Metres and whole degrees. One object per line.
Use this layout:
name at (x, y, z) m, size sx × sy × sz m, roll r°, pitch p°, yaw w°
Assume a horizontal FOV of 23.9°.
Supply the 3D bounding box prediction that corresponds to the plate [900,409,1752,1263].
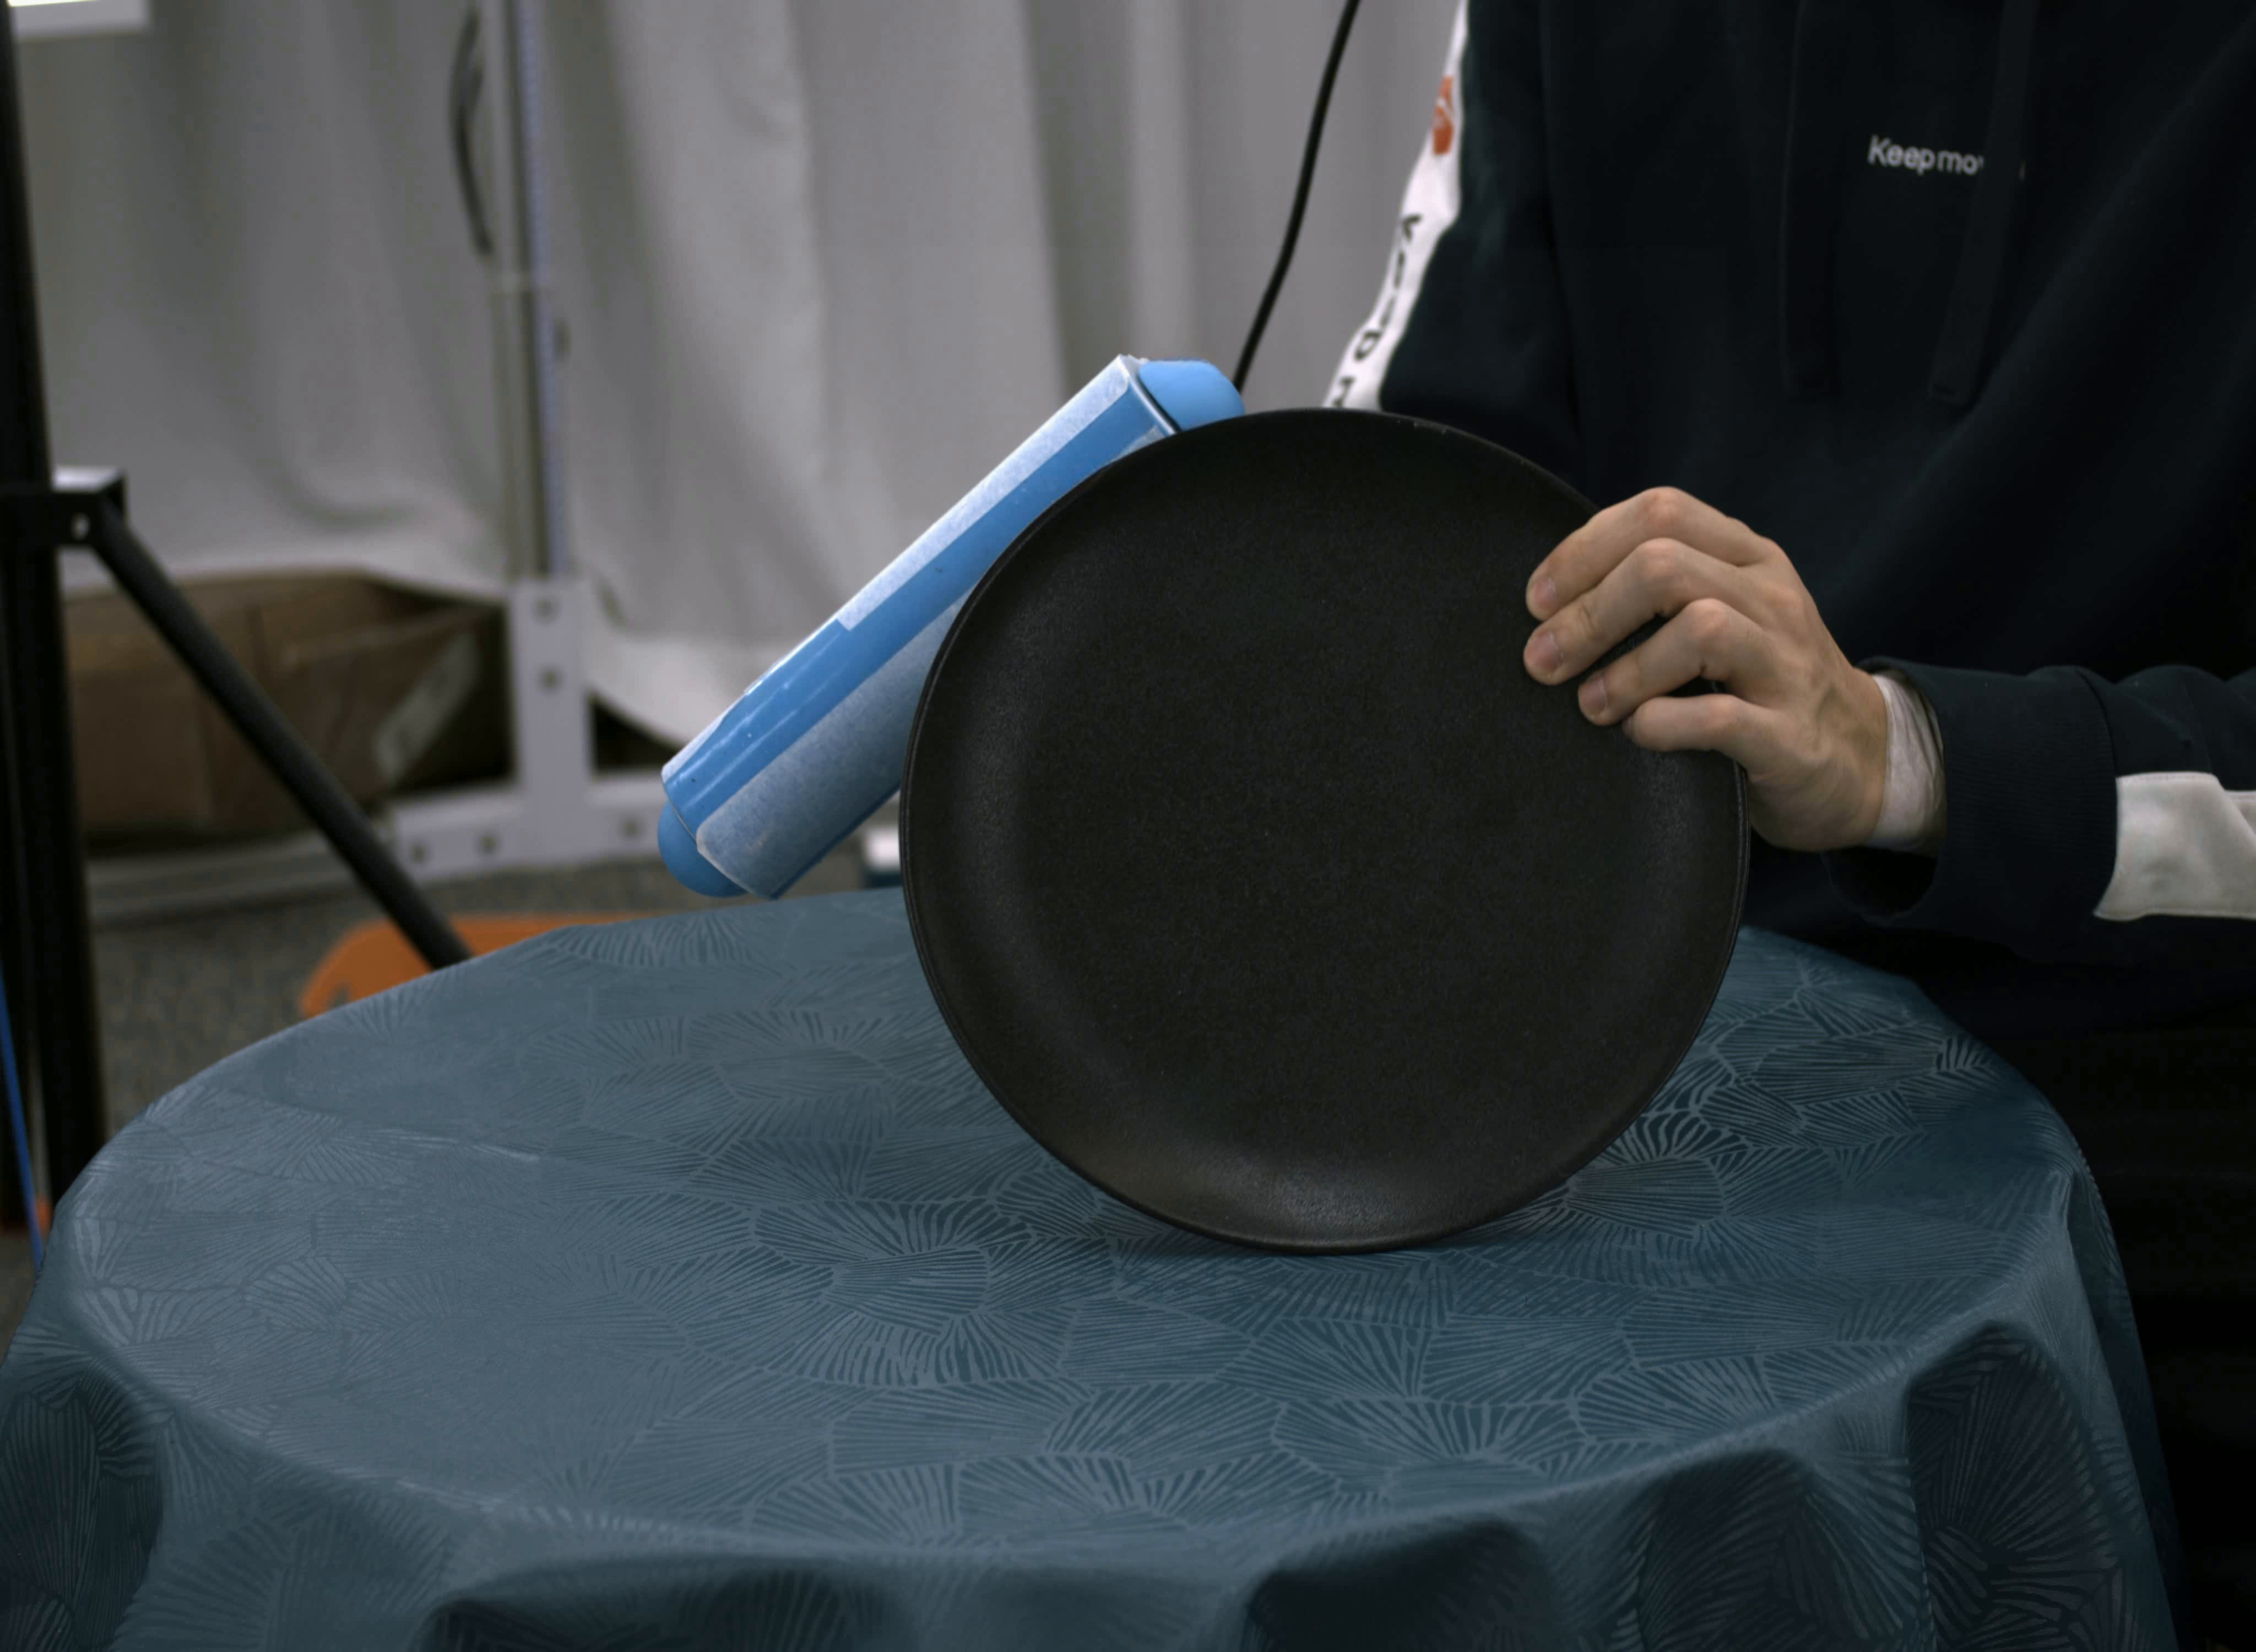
plate at (0.056, 0.003, 1.518) m, size 0.243 × 0.246 × 0.023 m, roll -2°, pitch -6°, yaw 2°

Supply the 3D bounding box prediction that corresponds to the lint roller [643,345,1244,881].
lint roller at (-0.030, -0.042, 1.657) m, size 0.176 × 0.230 × 0.069 m, roll 37°, pitch 16°, yaw -53°
